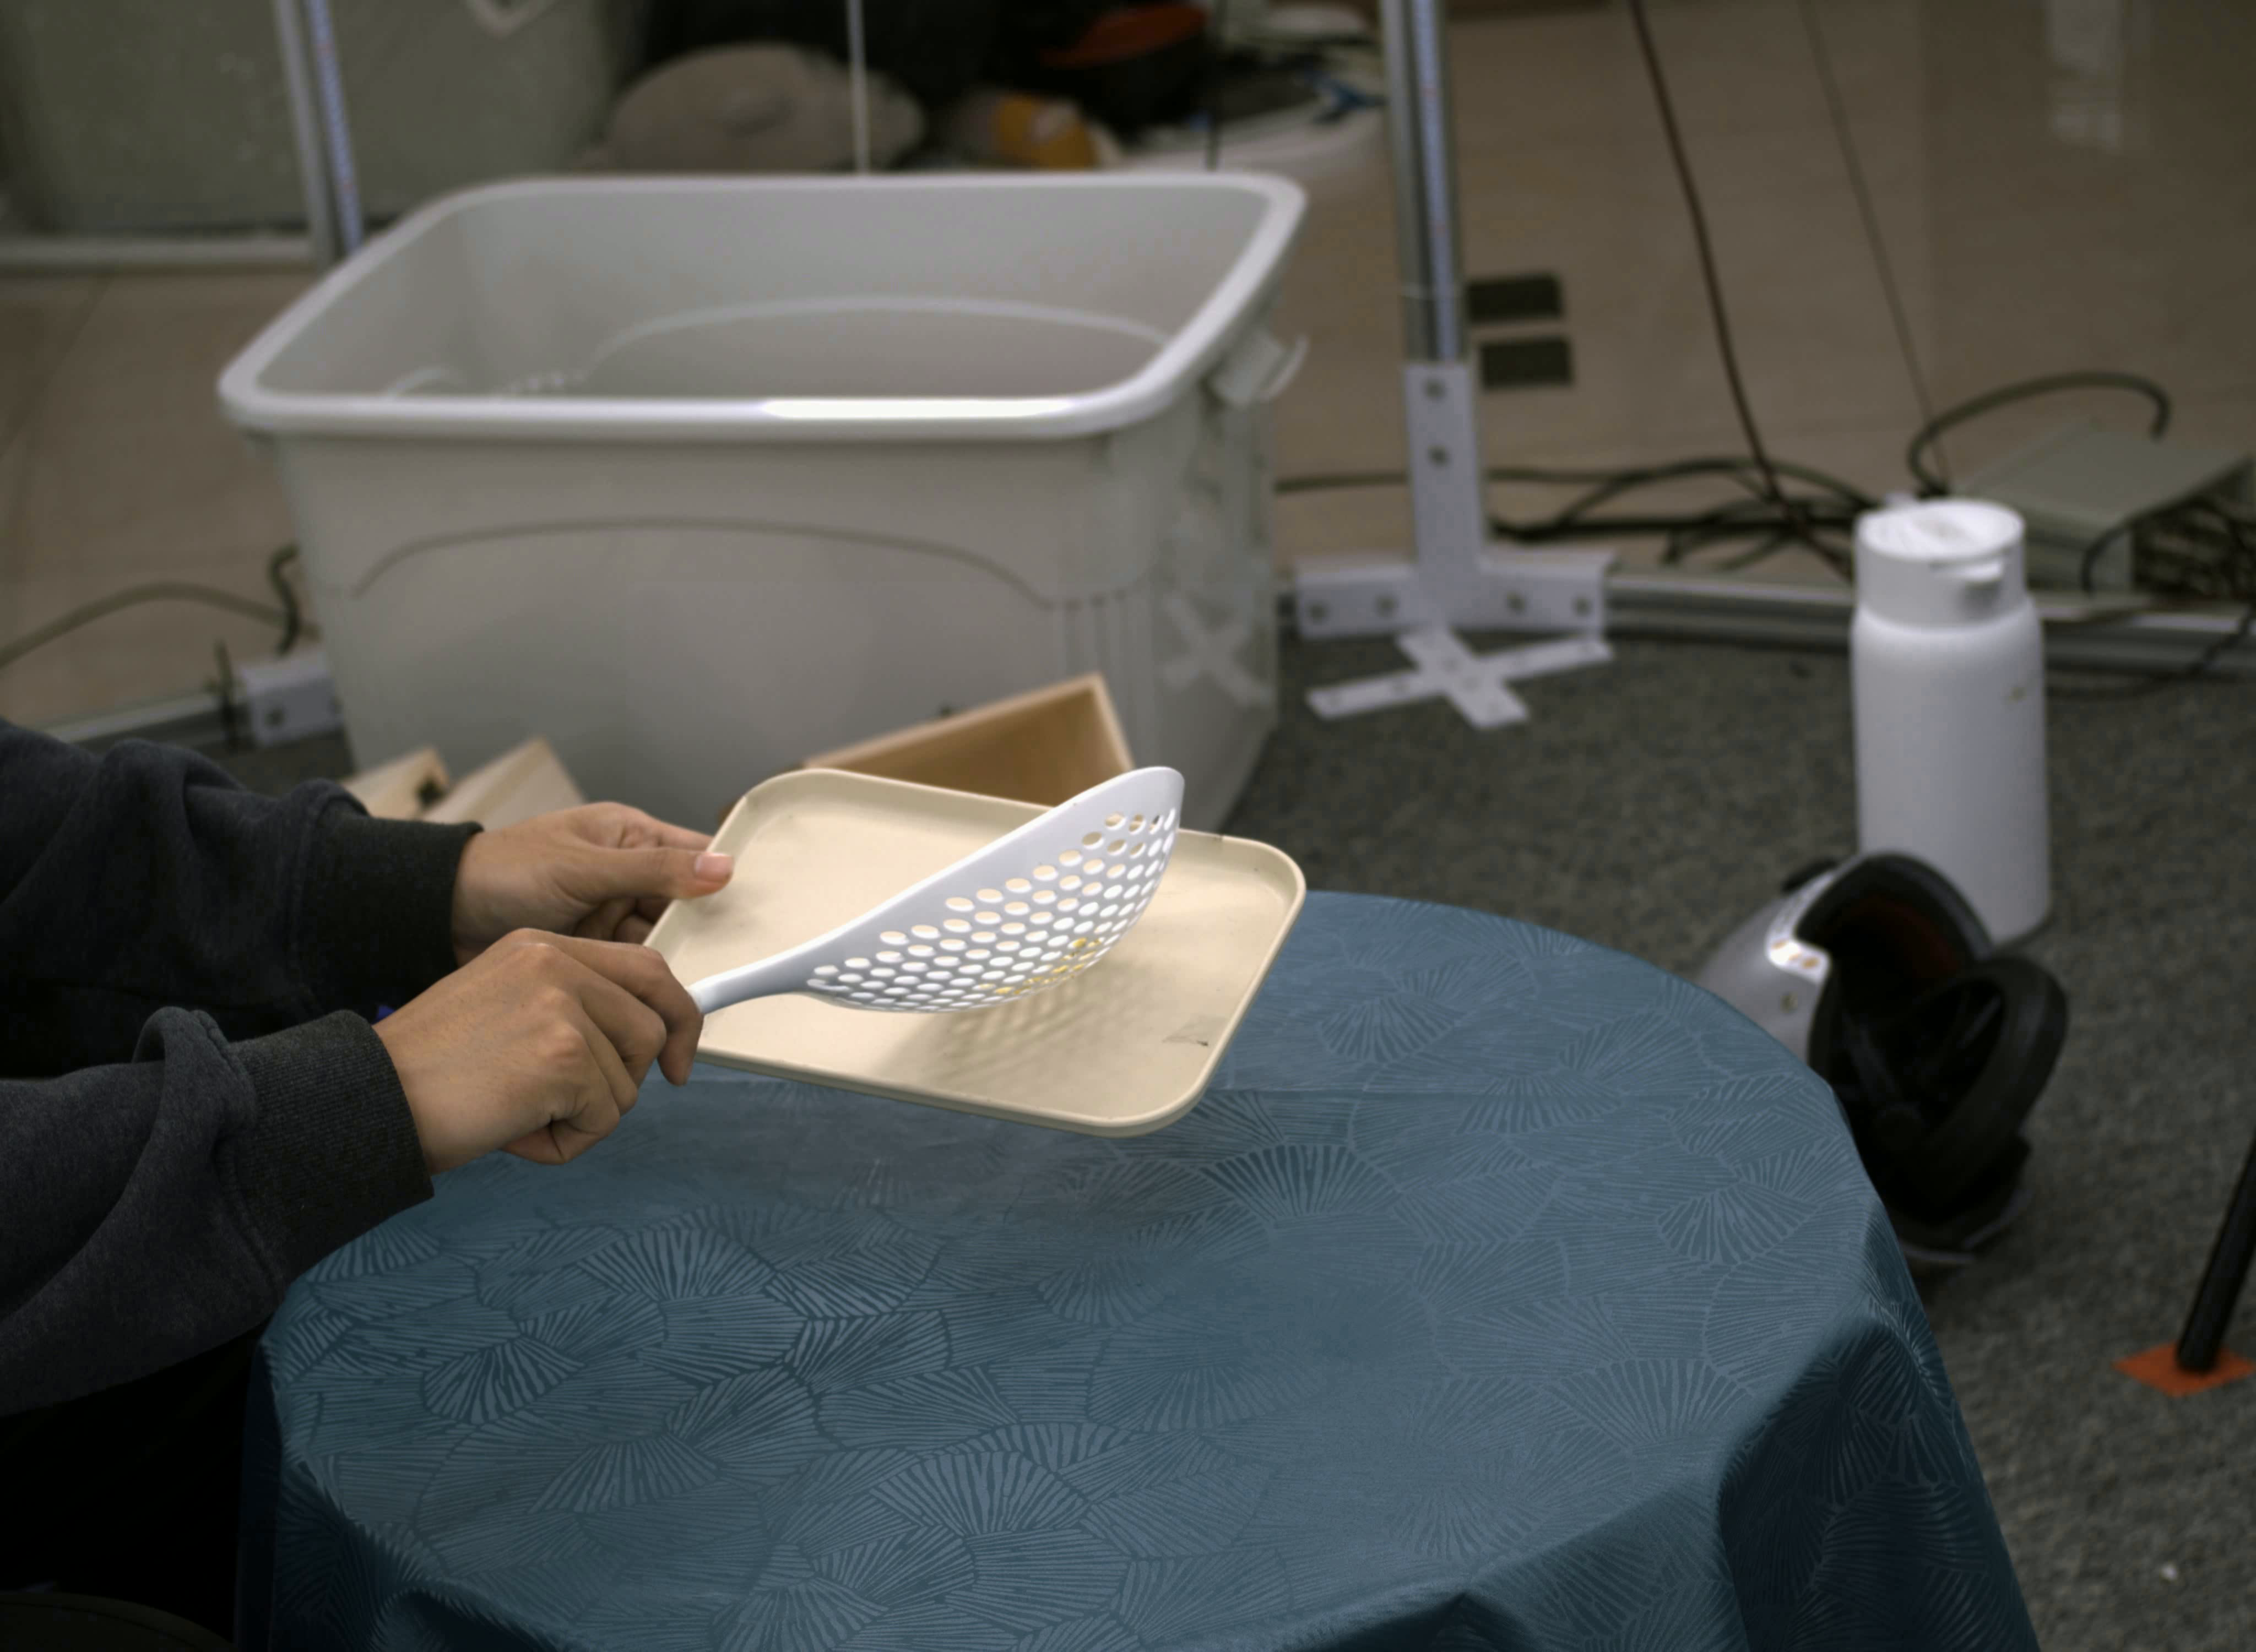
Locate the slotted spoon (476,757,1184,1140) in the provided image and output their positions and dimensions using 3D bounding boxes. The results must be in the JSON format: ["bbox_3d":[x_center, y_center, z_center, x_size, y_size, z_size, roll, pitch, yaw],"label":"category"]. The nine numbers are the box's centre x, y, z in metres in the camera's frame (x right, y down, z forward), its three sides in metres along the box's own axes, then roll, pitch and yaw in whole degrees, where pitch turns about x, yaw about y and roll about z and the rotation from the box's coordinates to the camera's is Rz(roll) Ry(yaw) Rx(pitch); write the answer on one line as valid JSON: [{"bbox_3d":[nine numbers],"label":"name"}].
[{"bbox_3d":[-0.107,0.055,2.018,0.346,0.138,0.050,-15,67,-42],"label":"slotted spoon"}]

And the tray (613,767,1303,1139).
[{"bbox_3d":[-0.064,0.048,2.161,0.239,0.018,0.168,10,43,20],"label":"tray"}]
